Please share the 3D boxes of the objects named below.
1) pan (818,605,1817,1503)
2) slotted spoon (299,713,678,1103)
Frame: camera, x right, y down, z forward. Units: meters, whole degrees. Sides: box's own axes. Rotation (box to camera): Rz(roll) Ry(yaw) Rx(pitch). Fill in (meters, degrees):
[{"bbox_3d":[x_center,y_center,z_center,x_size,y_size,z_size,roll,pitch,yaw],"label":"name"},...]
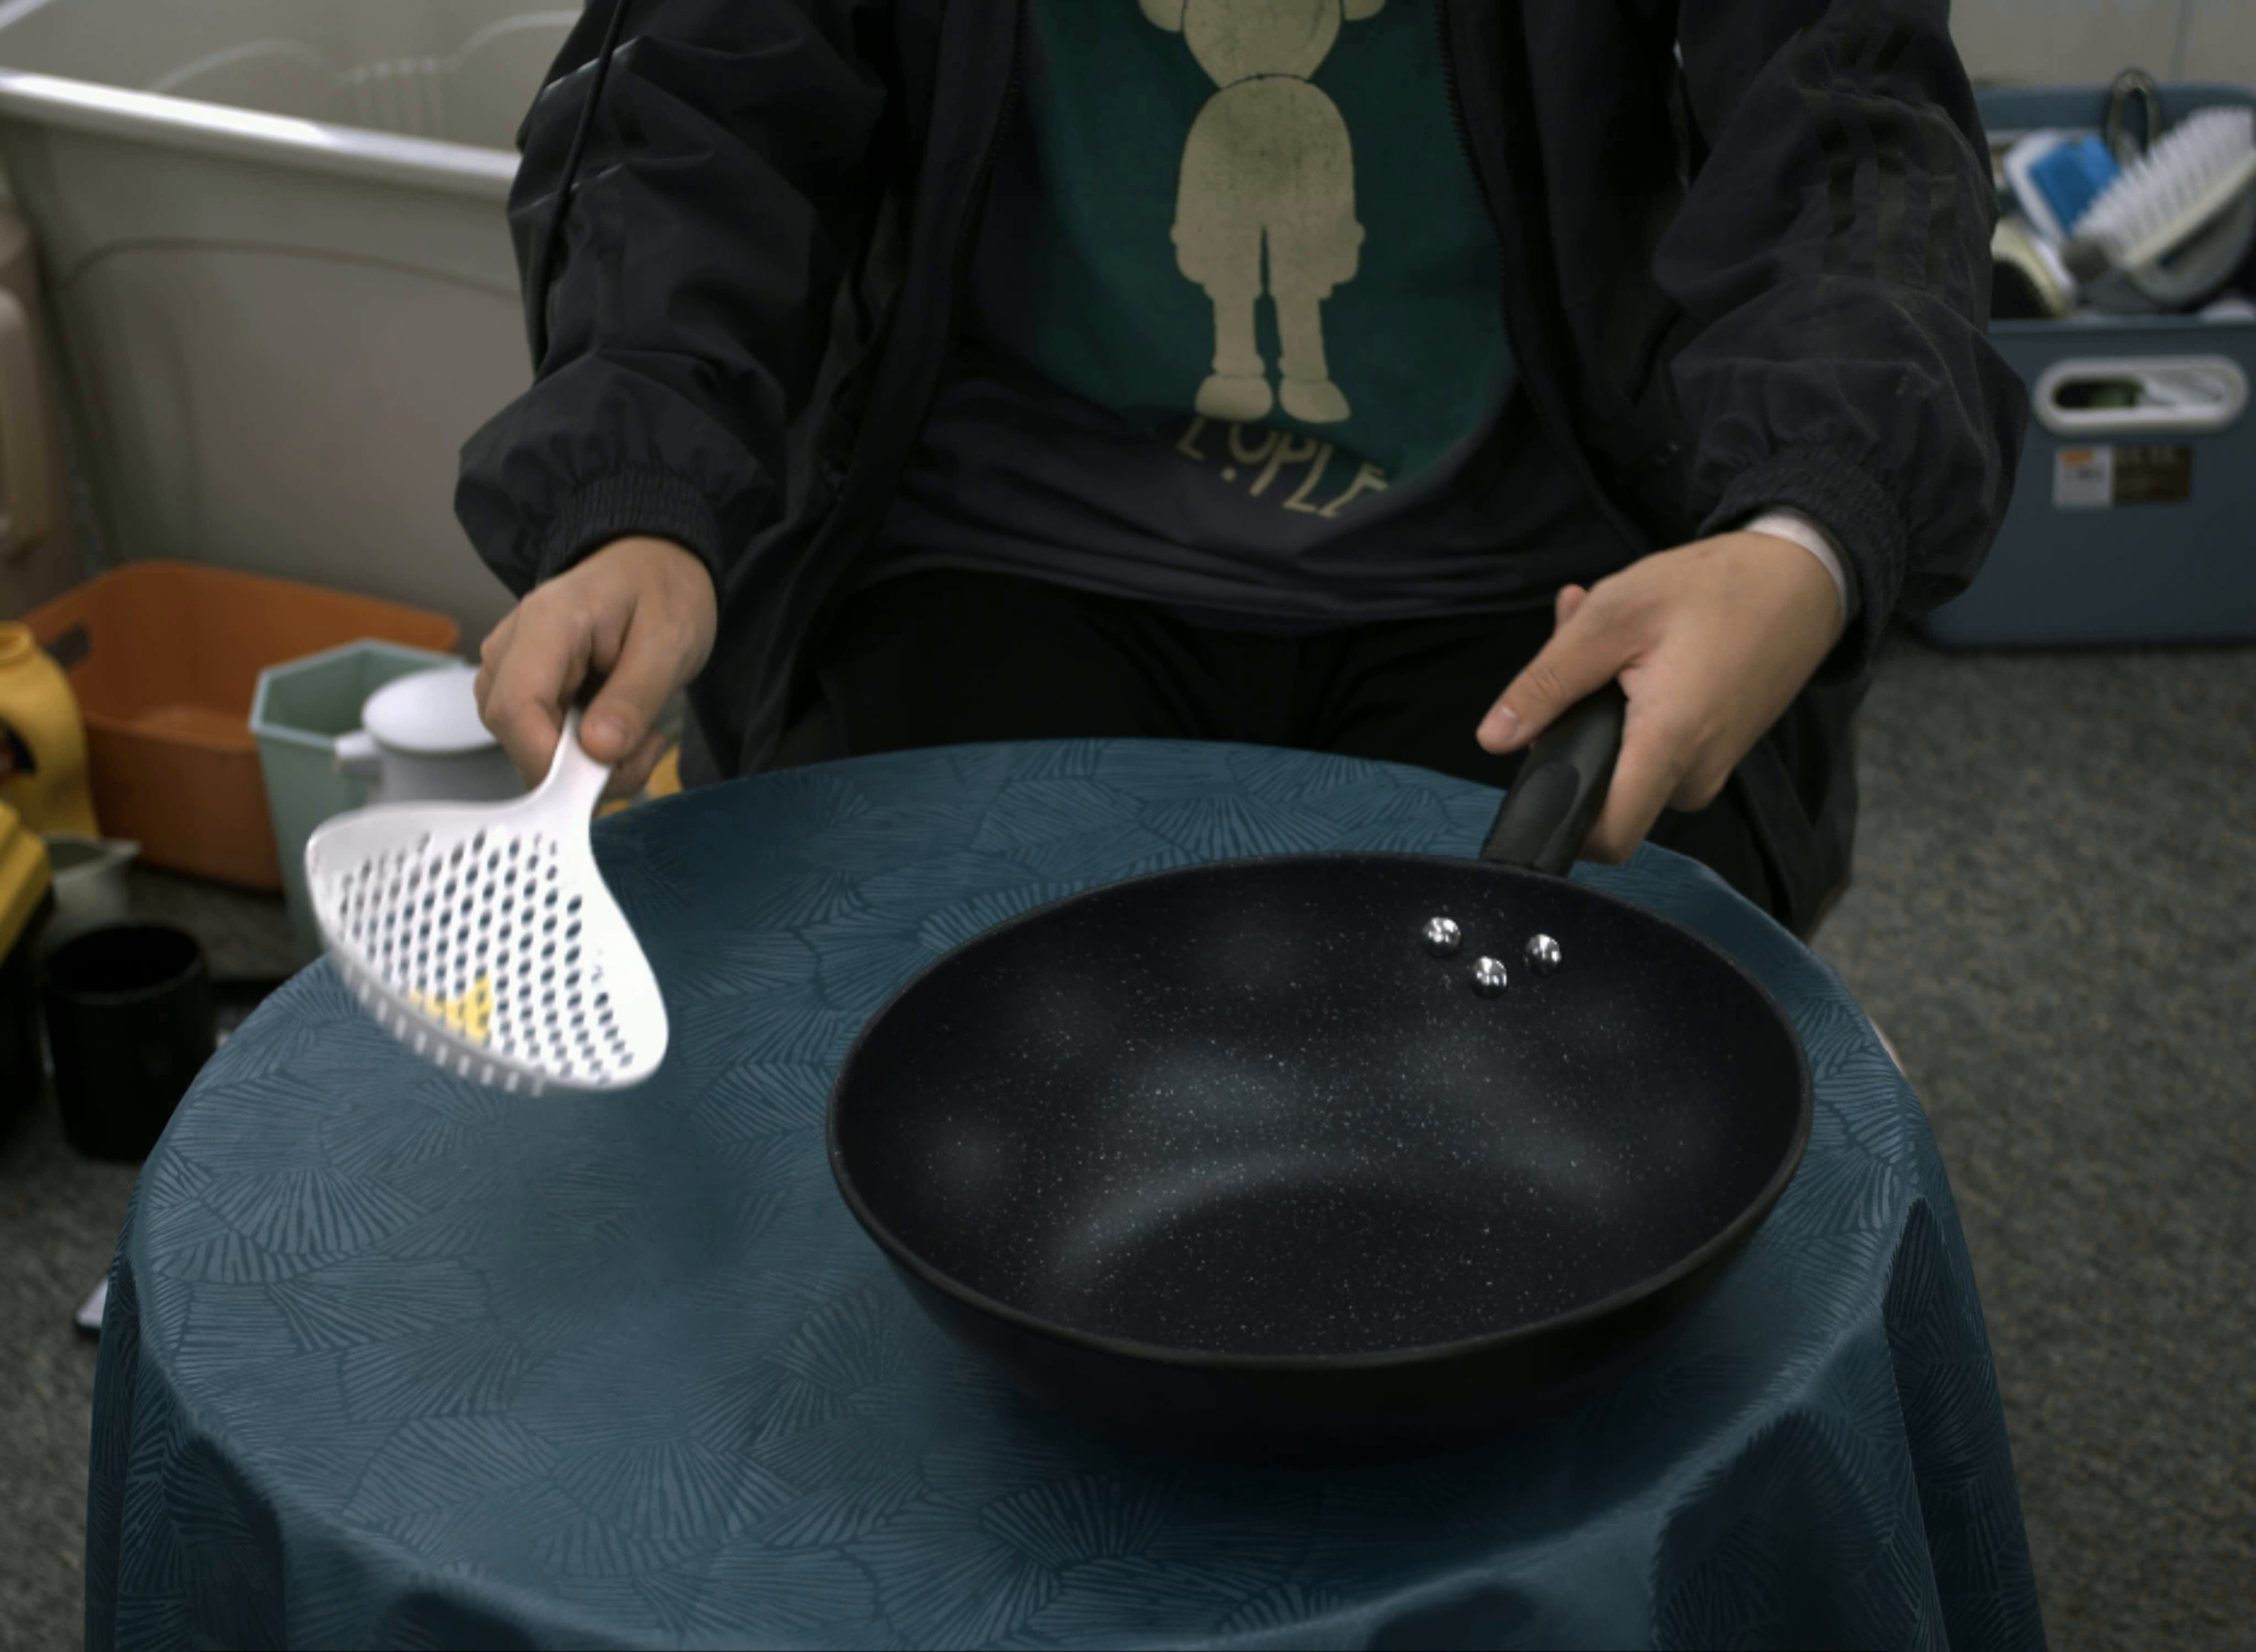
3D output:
[{"bbox_3d":[0.095,0.076,1.823,0.308,0.110,0.485,11,31,23],"label":"pan"},{"bbox_3d":[-0.204,0.015,1.917,0.136,0.050,0.353,30,22,-6],"label":"slotted spoon"}]
